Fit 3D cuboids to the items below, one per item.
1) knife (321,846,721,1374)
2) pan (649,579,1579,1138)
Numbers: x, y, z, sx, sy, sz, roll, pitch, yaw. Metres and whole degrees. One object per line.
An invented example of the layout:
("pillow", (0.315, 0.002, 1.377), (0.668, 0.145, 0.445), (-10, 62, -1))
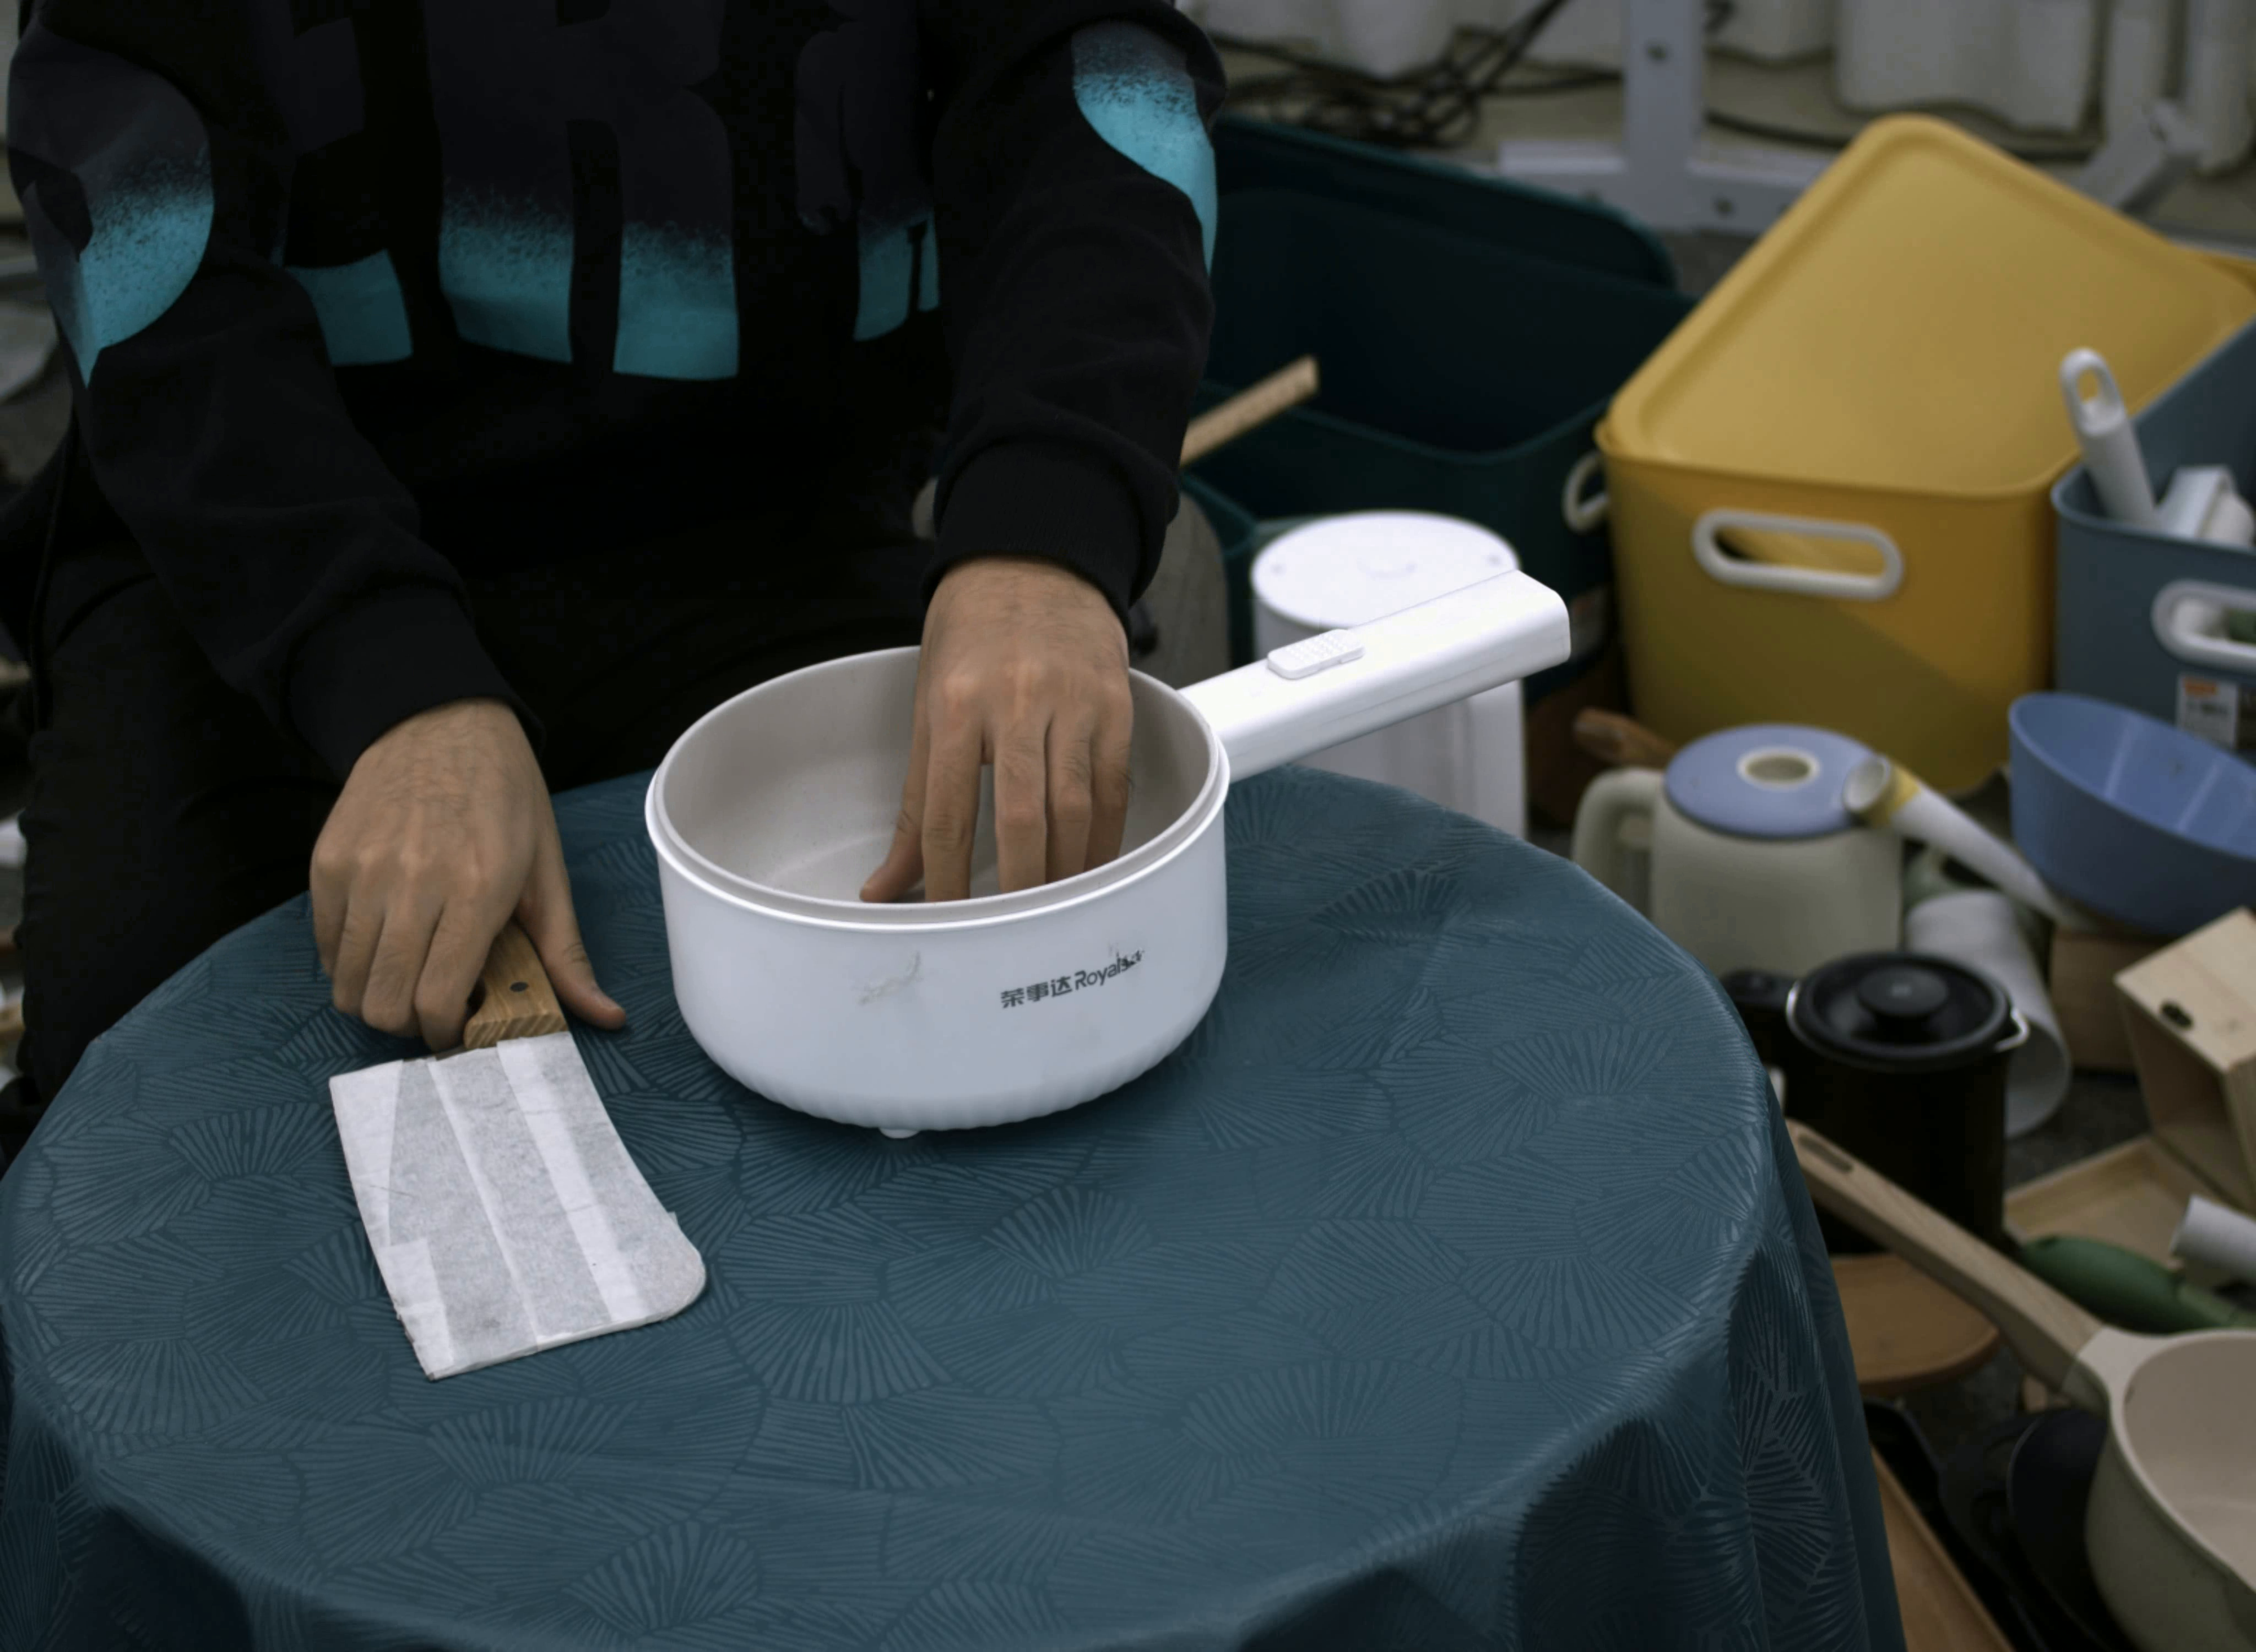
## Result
("knife", (-0.217, 0.093, 1.920), (0.114, 0.021, 0.319), (-9, 31, -11))
("pan", (0.003, 0.004, 1.982), (0.357, 0.101, 0.202), (-18, 30, -27))
